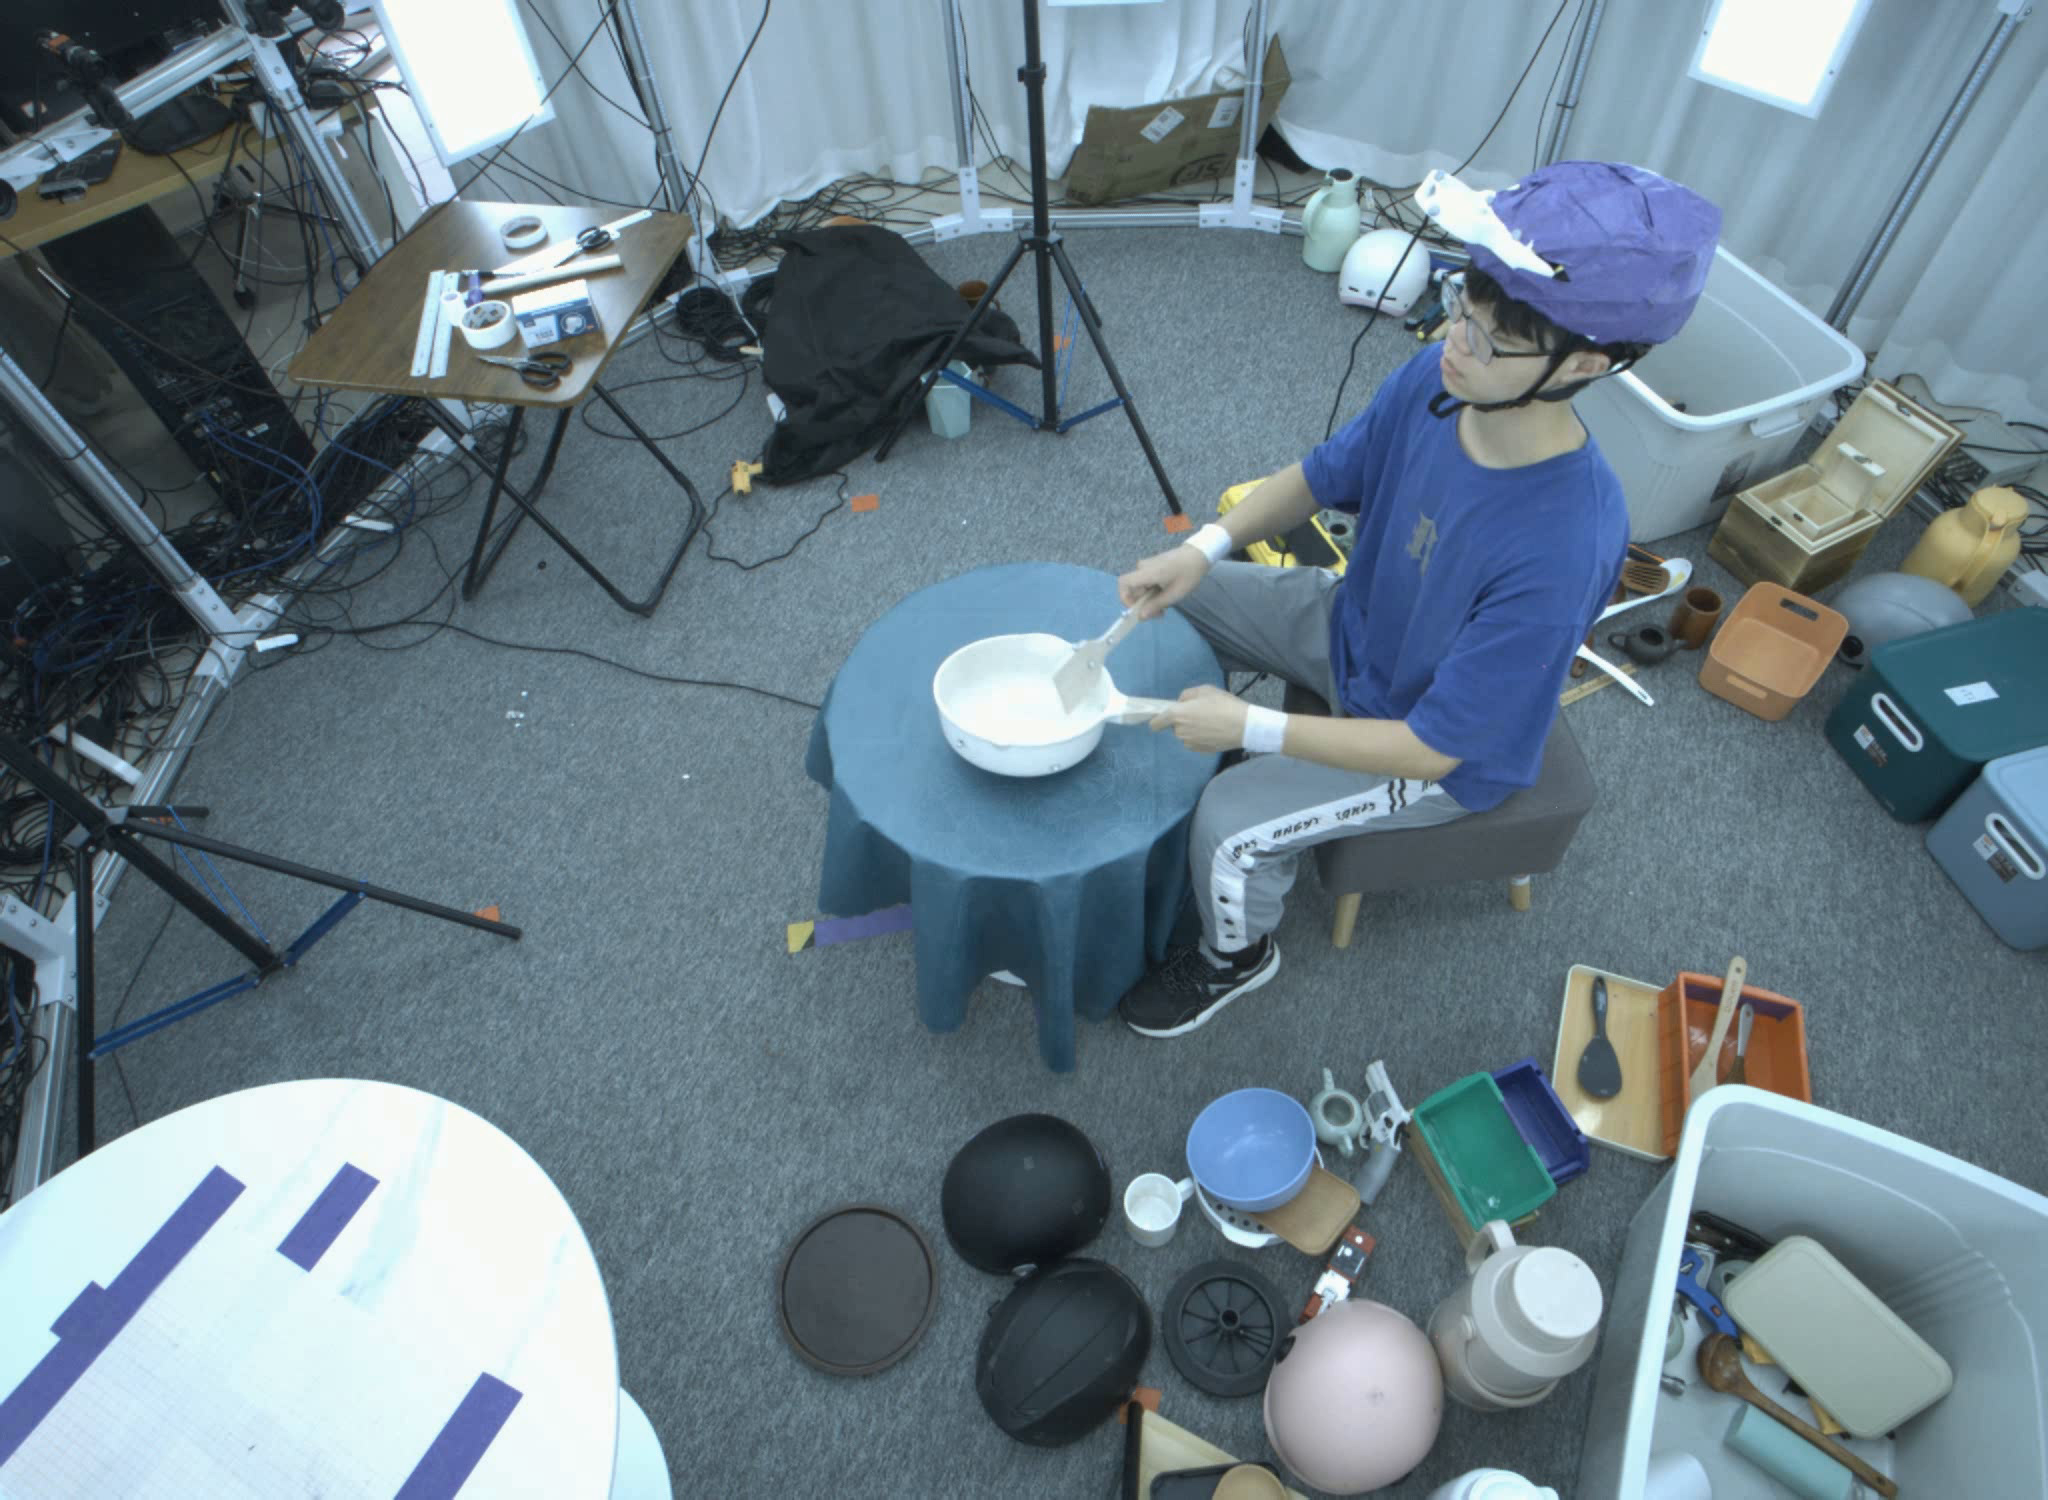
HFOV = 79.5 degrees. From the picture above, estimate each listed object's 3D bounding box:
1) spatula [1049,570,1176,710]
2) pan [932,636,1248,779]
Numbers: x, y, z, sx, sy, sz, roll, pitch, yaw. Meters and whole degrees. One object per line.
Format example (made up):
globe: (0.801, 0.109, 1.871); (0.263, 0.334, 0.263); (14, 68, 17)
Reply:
spatula: (0.128, -0.167, 1.716); (0.010, 0.073, 0.295); (13, 46, 41)
pan: (0.087, -0.045, 1.706); (0.433, 0.103, 0.262); (10, 40, 7)
